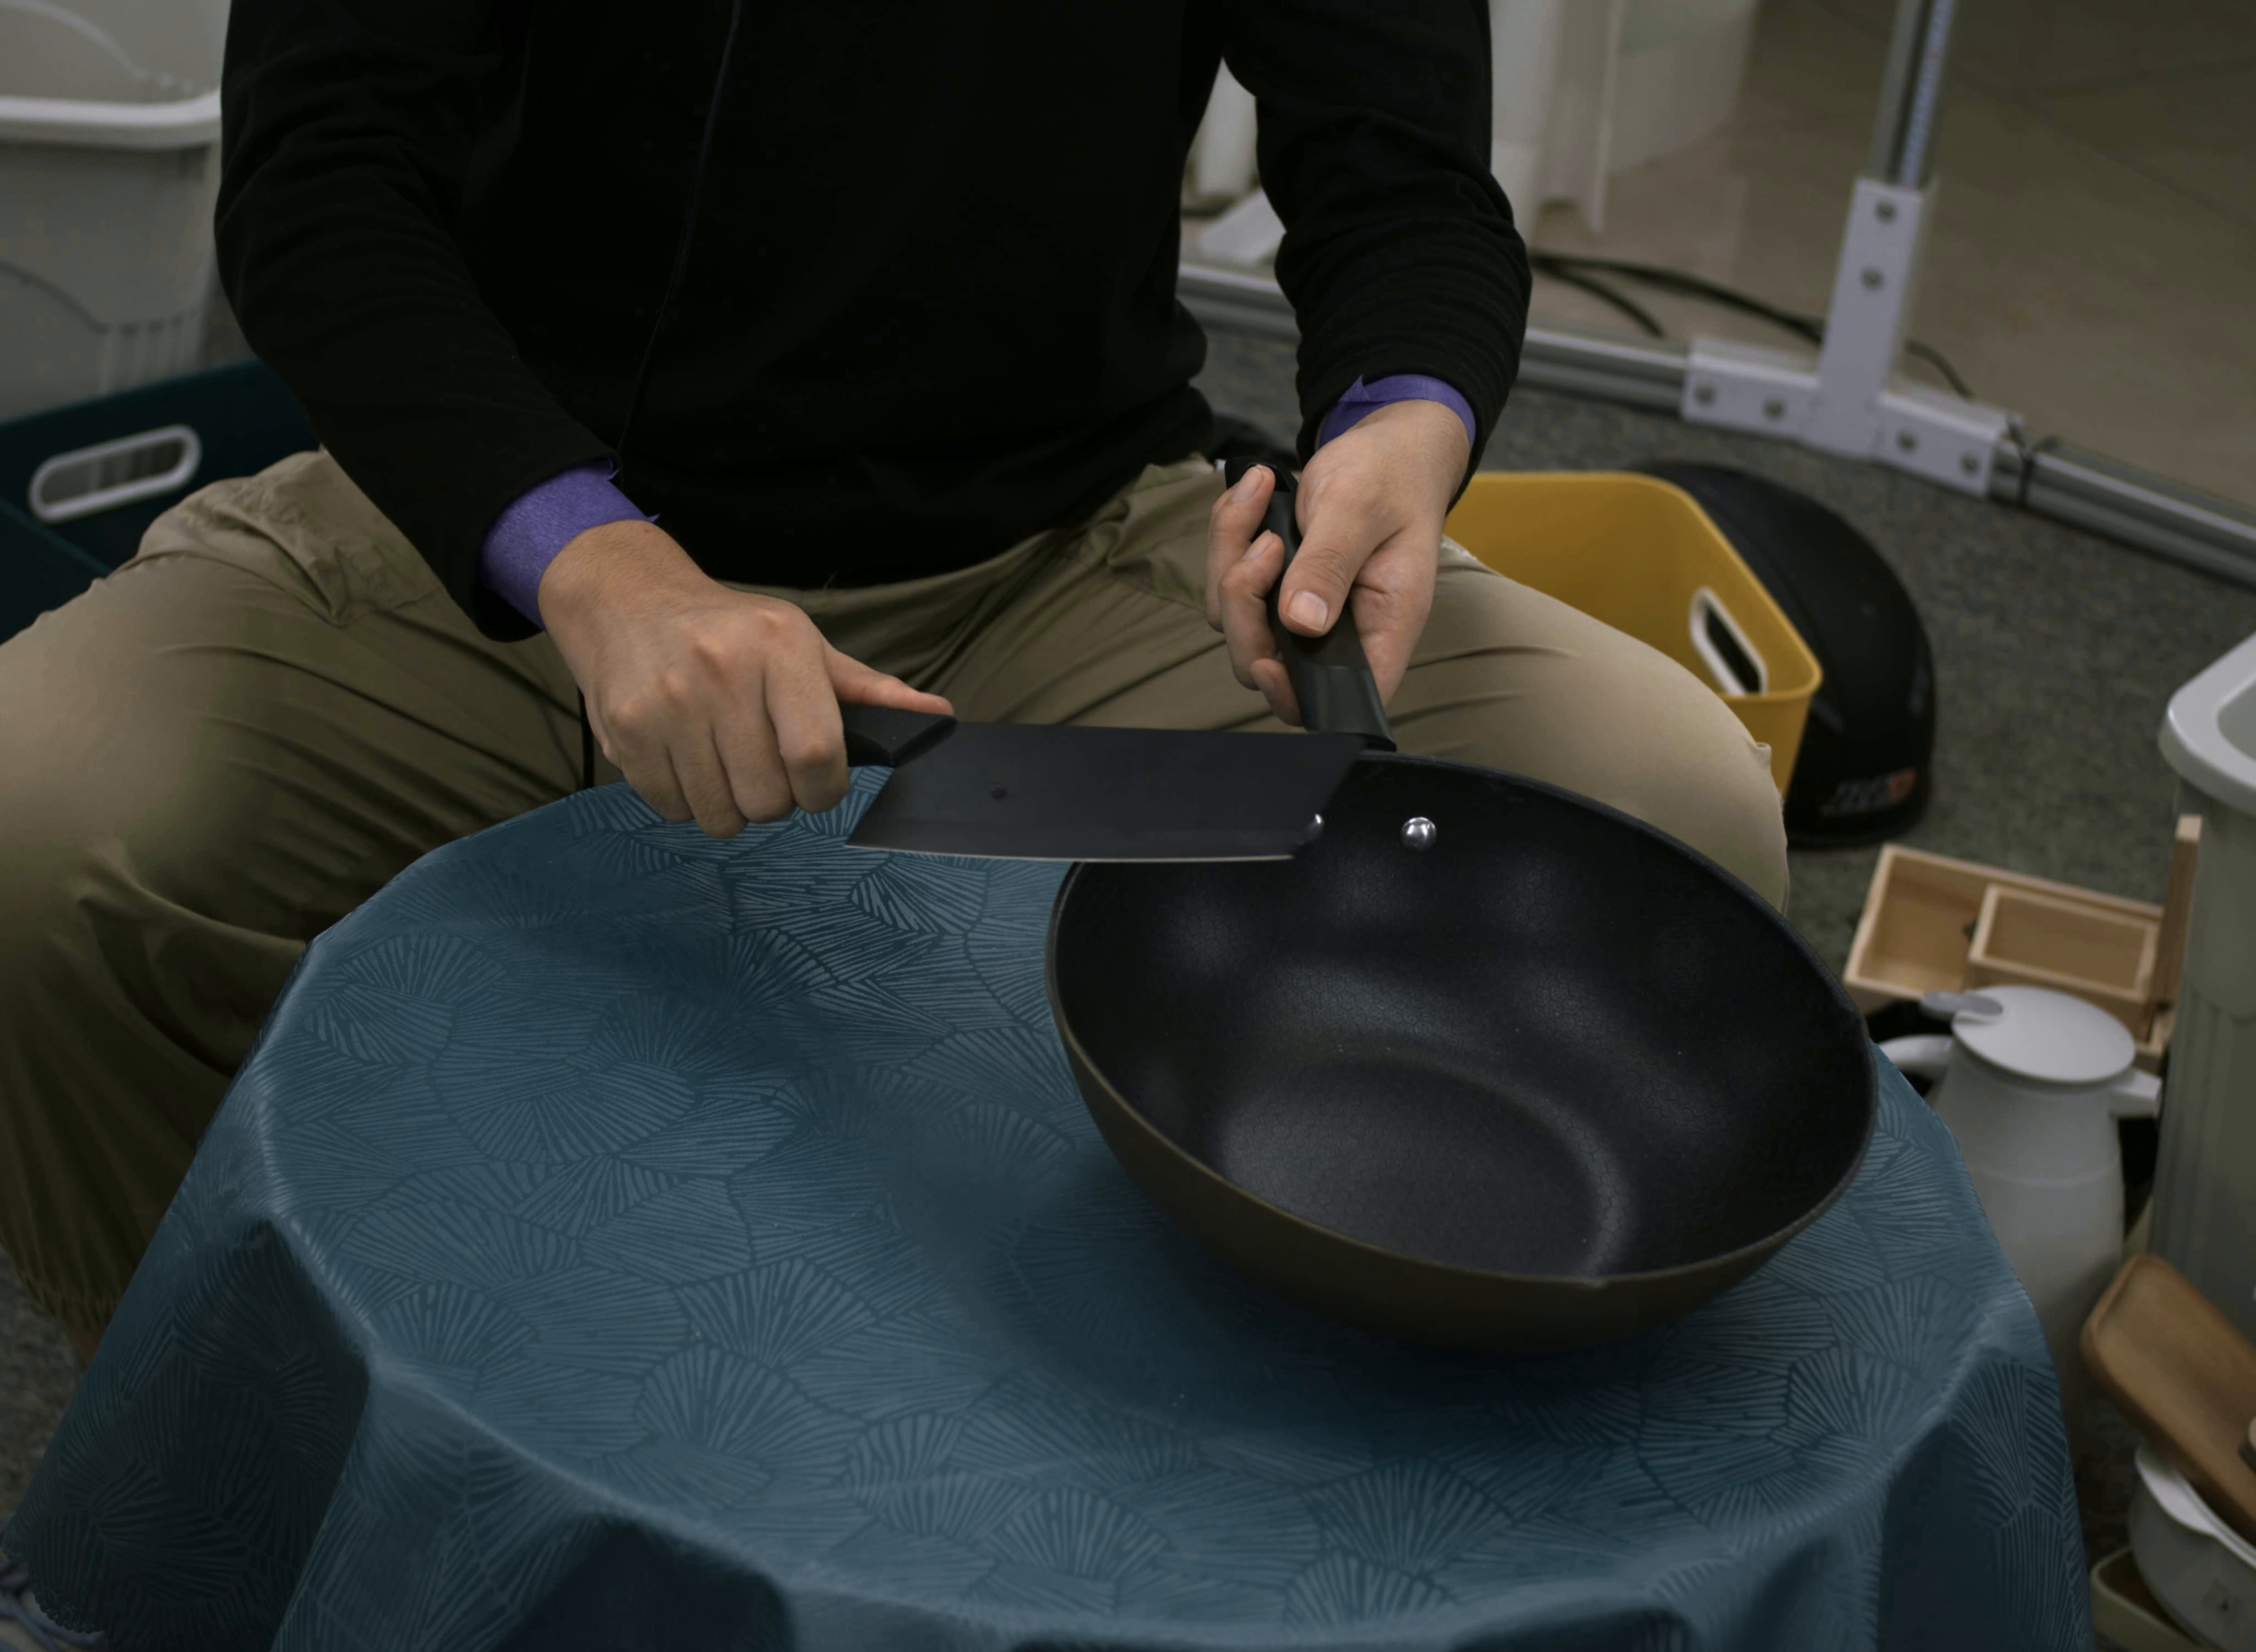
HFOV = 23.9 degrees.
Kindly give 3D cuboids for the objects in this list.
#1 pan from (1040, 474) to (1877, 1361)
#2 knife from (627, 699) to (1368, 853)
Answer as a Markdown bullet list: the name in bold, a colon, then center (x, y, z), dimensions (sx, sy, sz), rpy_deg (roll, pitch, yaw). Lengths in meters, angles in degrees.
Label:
- **pan**: center (0.086, 0.035, 1.852), dimensions (0.286, 0.086, 0.467), rpy_deg (2, 36, -15)
- **knife**: center (-0.054, -0.017, 1.825), dimensions (0.304, 0.020, 0.081), rpy_deg (6, 44, 38)
